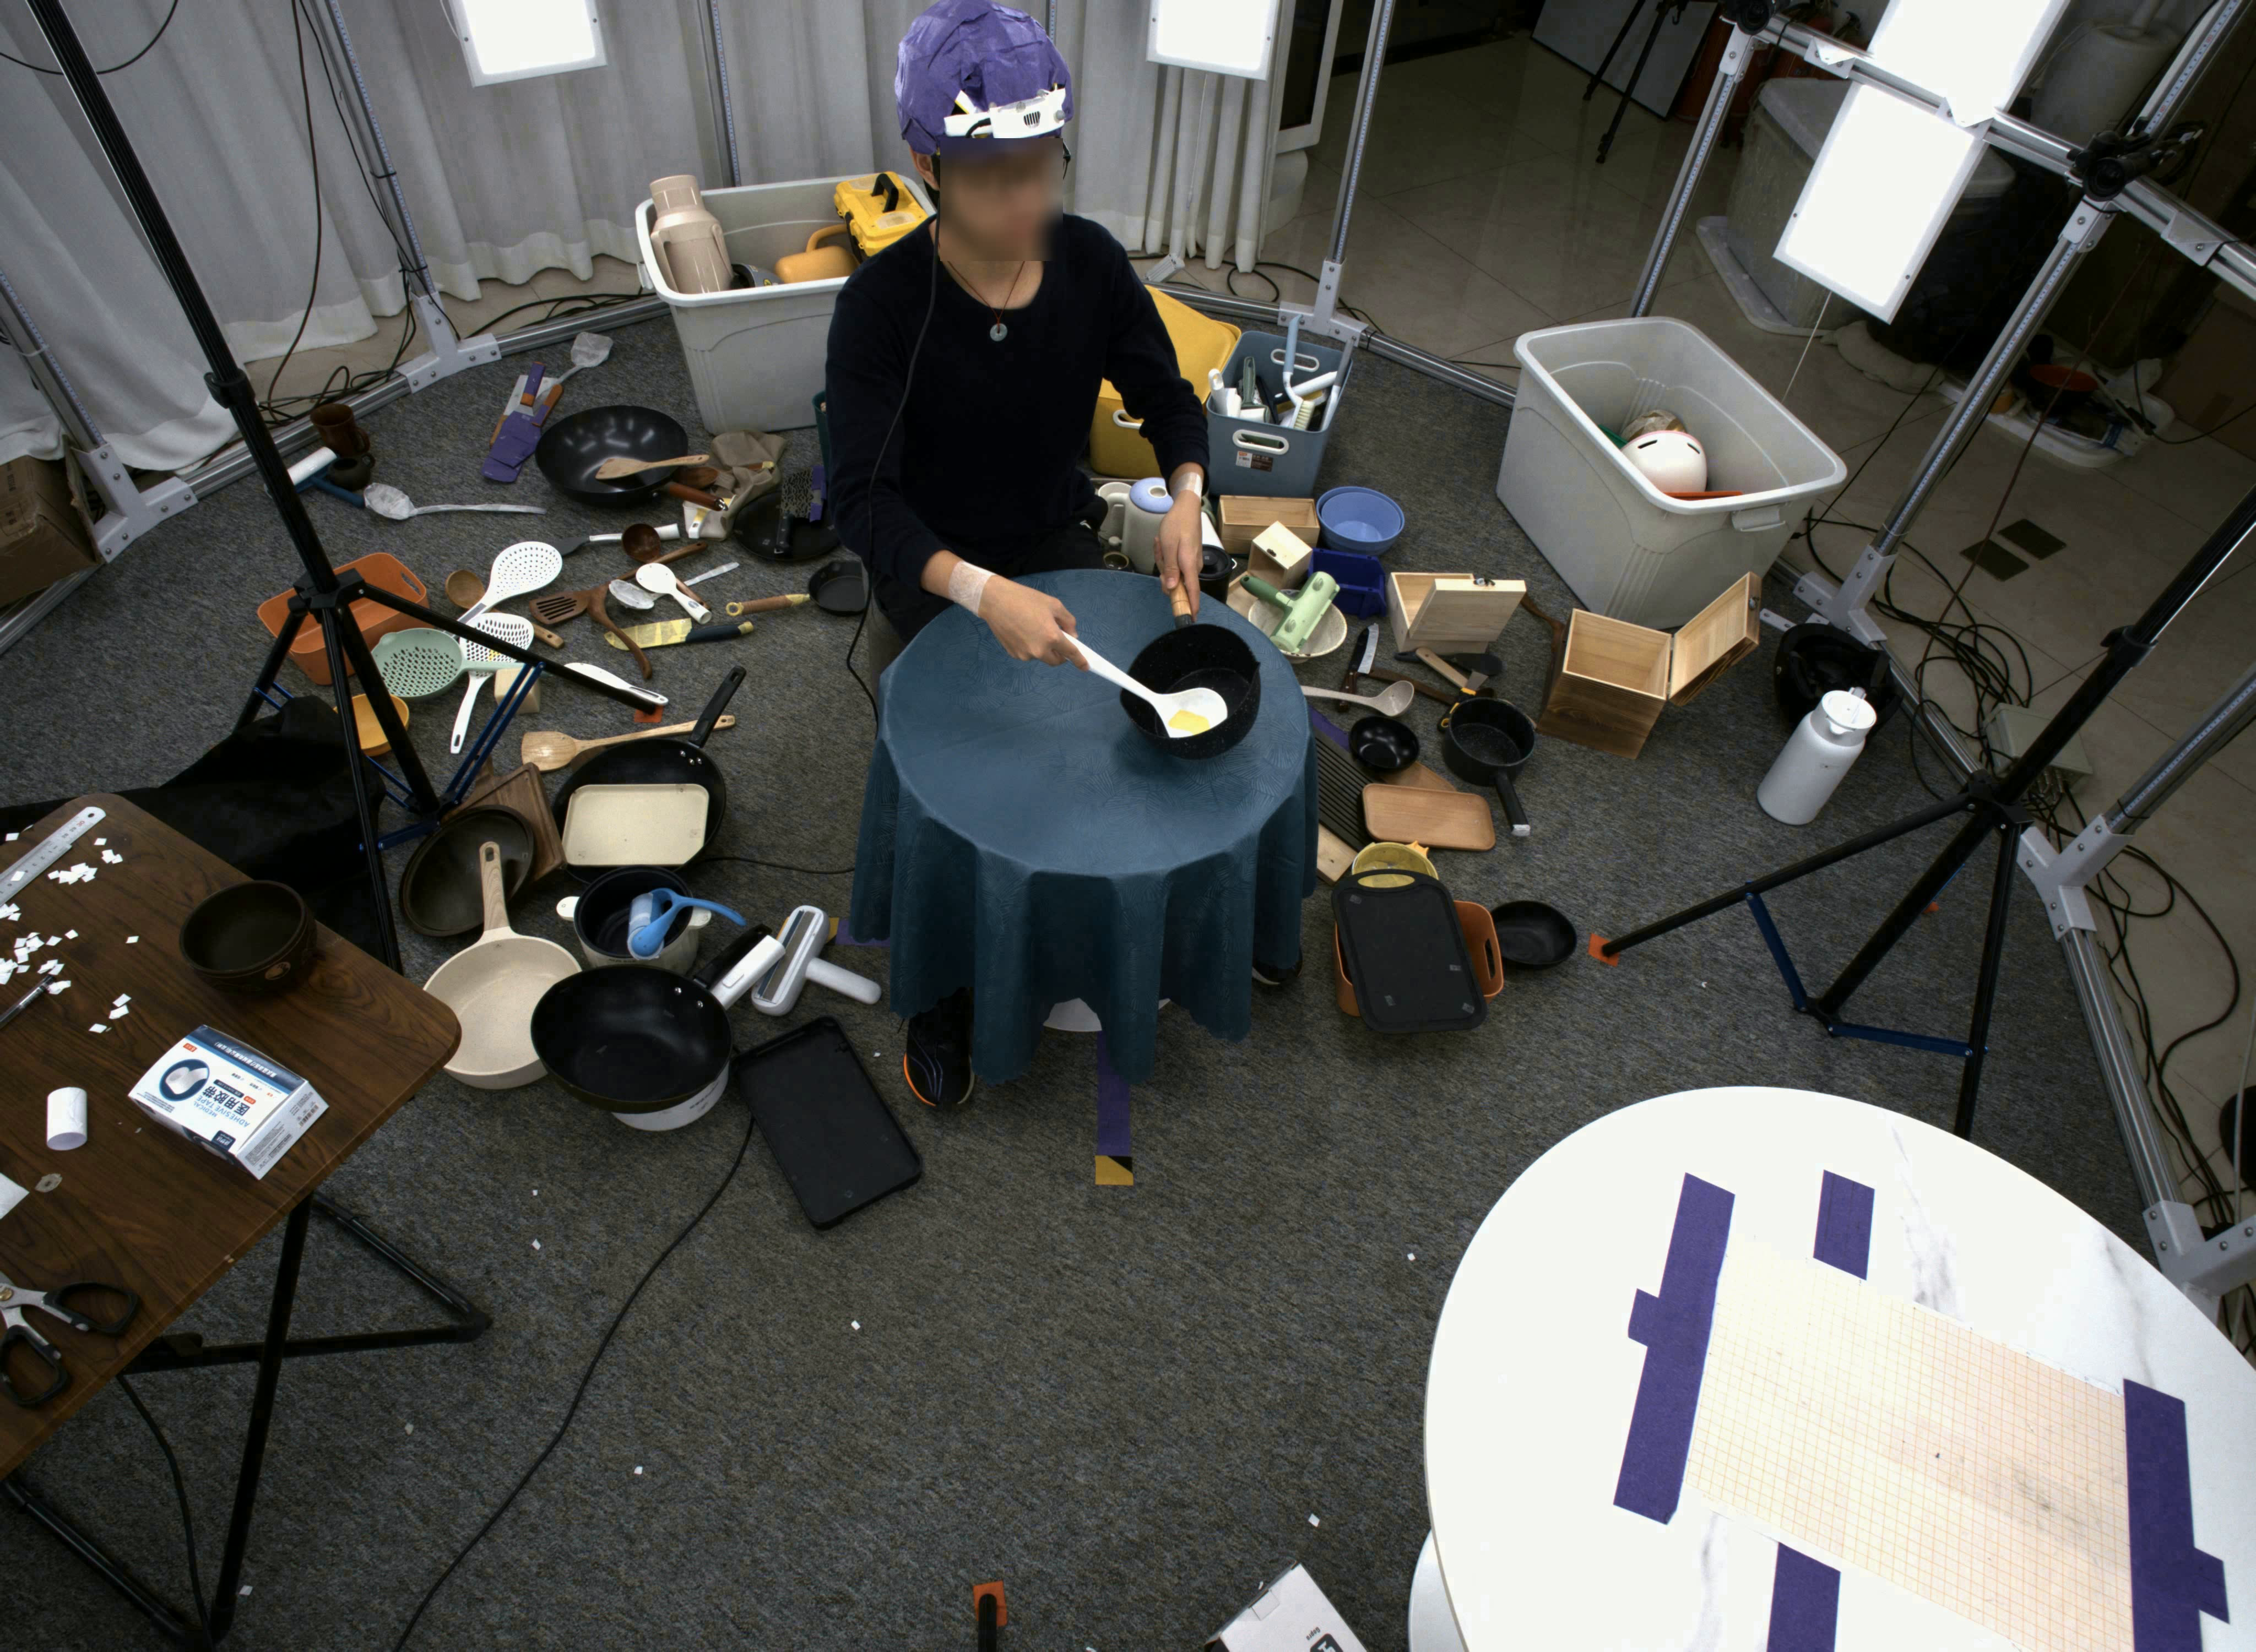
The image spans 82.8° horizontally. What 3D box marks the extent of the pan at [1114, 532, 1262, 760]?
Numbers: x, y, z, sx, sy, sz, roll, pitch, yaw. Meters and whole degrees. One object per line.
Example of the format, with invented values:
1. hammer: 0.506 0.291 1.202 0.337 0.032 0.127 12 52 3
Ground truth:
1. pan: 0.082 -0.248 1.774 0.207 0.106 0.351 -16 57 15

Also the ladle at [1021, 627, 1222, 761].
1. ladle: -0.006 -0.176 1.664 0.289 0.089 0.071 25 12 -30
